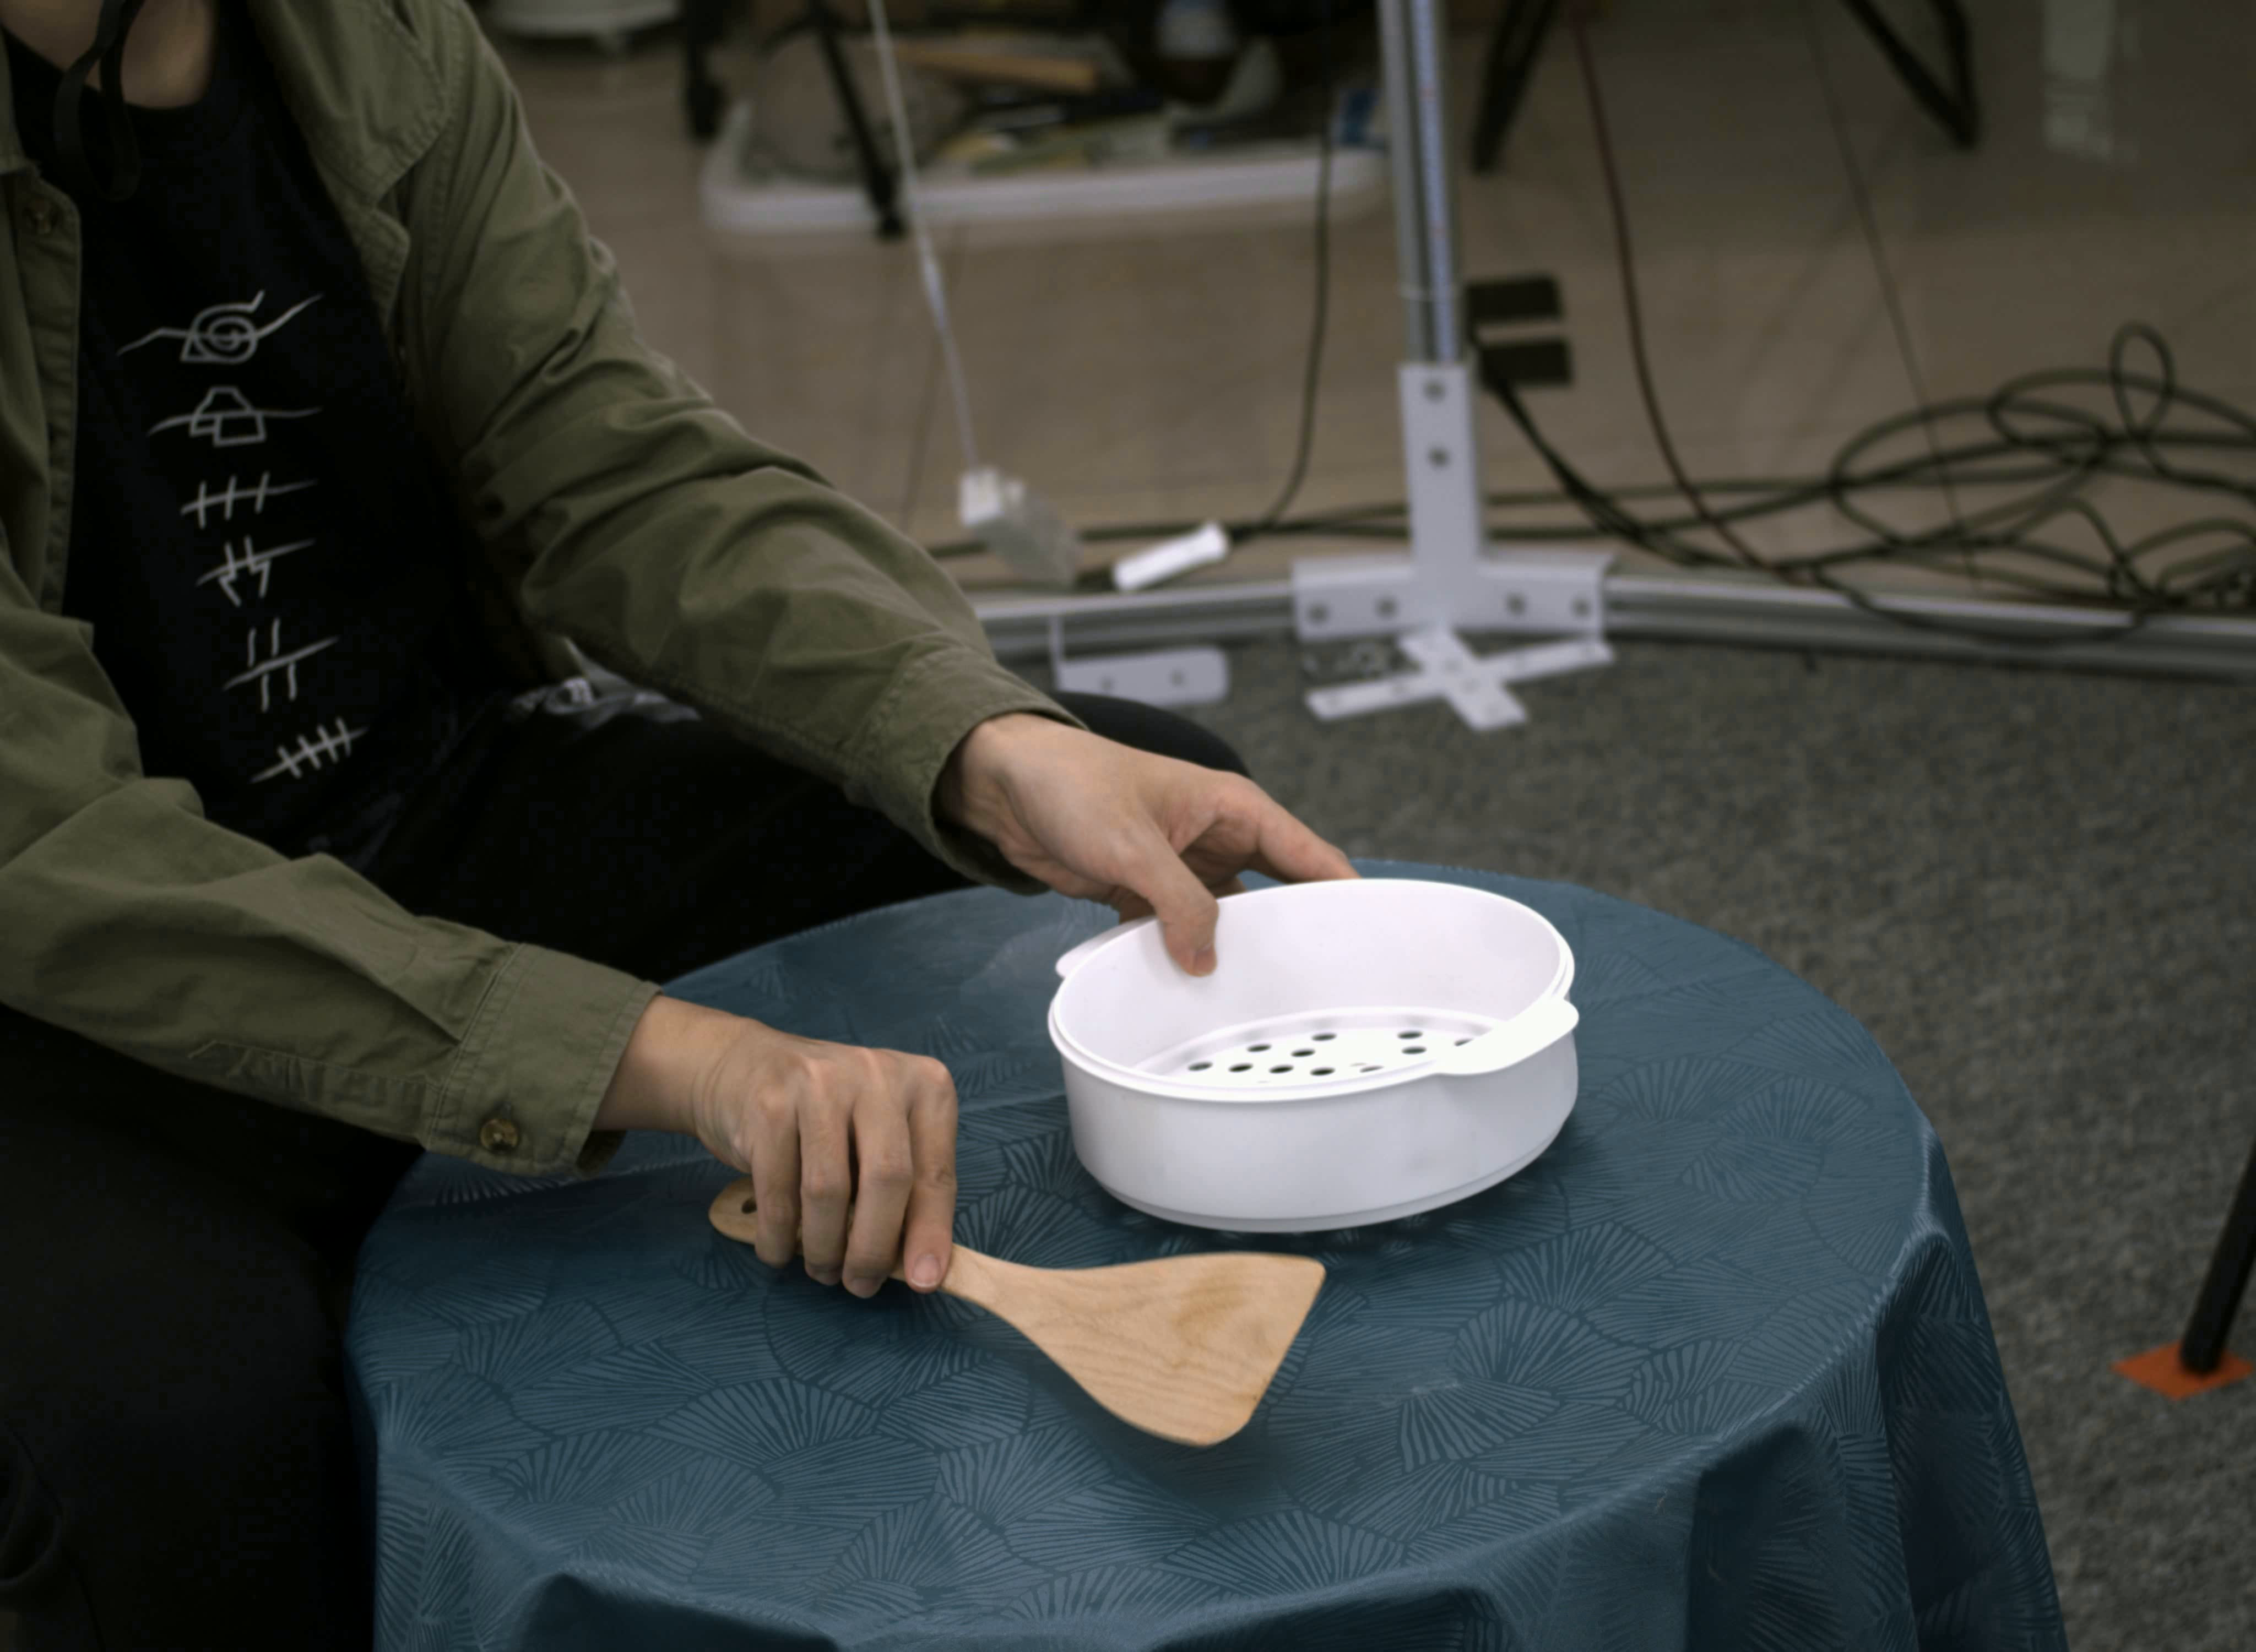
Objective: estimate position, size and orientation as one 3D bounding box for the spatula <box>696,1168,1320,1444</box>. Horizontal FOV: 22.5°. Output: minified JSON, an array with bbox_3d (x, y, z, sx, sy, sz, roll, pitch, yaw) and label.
[{"bbox_3d":[-0.053,0.161,2.054,0.325,0.017,0.079,13,58,46],"label":"spatula"}]

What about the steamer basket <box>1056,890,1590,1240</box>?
[{"bbox_3d":[0.076,0.091,2.150,0.229,0.070,0.200,12,28,42],"label":"steamer basket"}]
